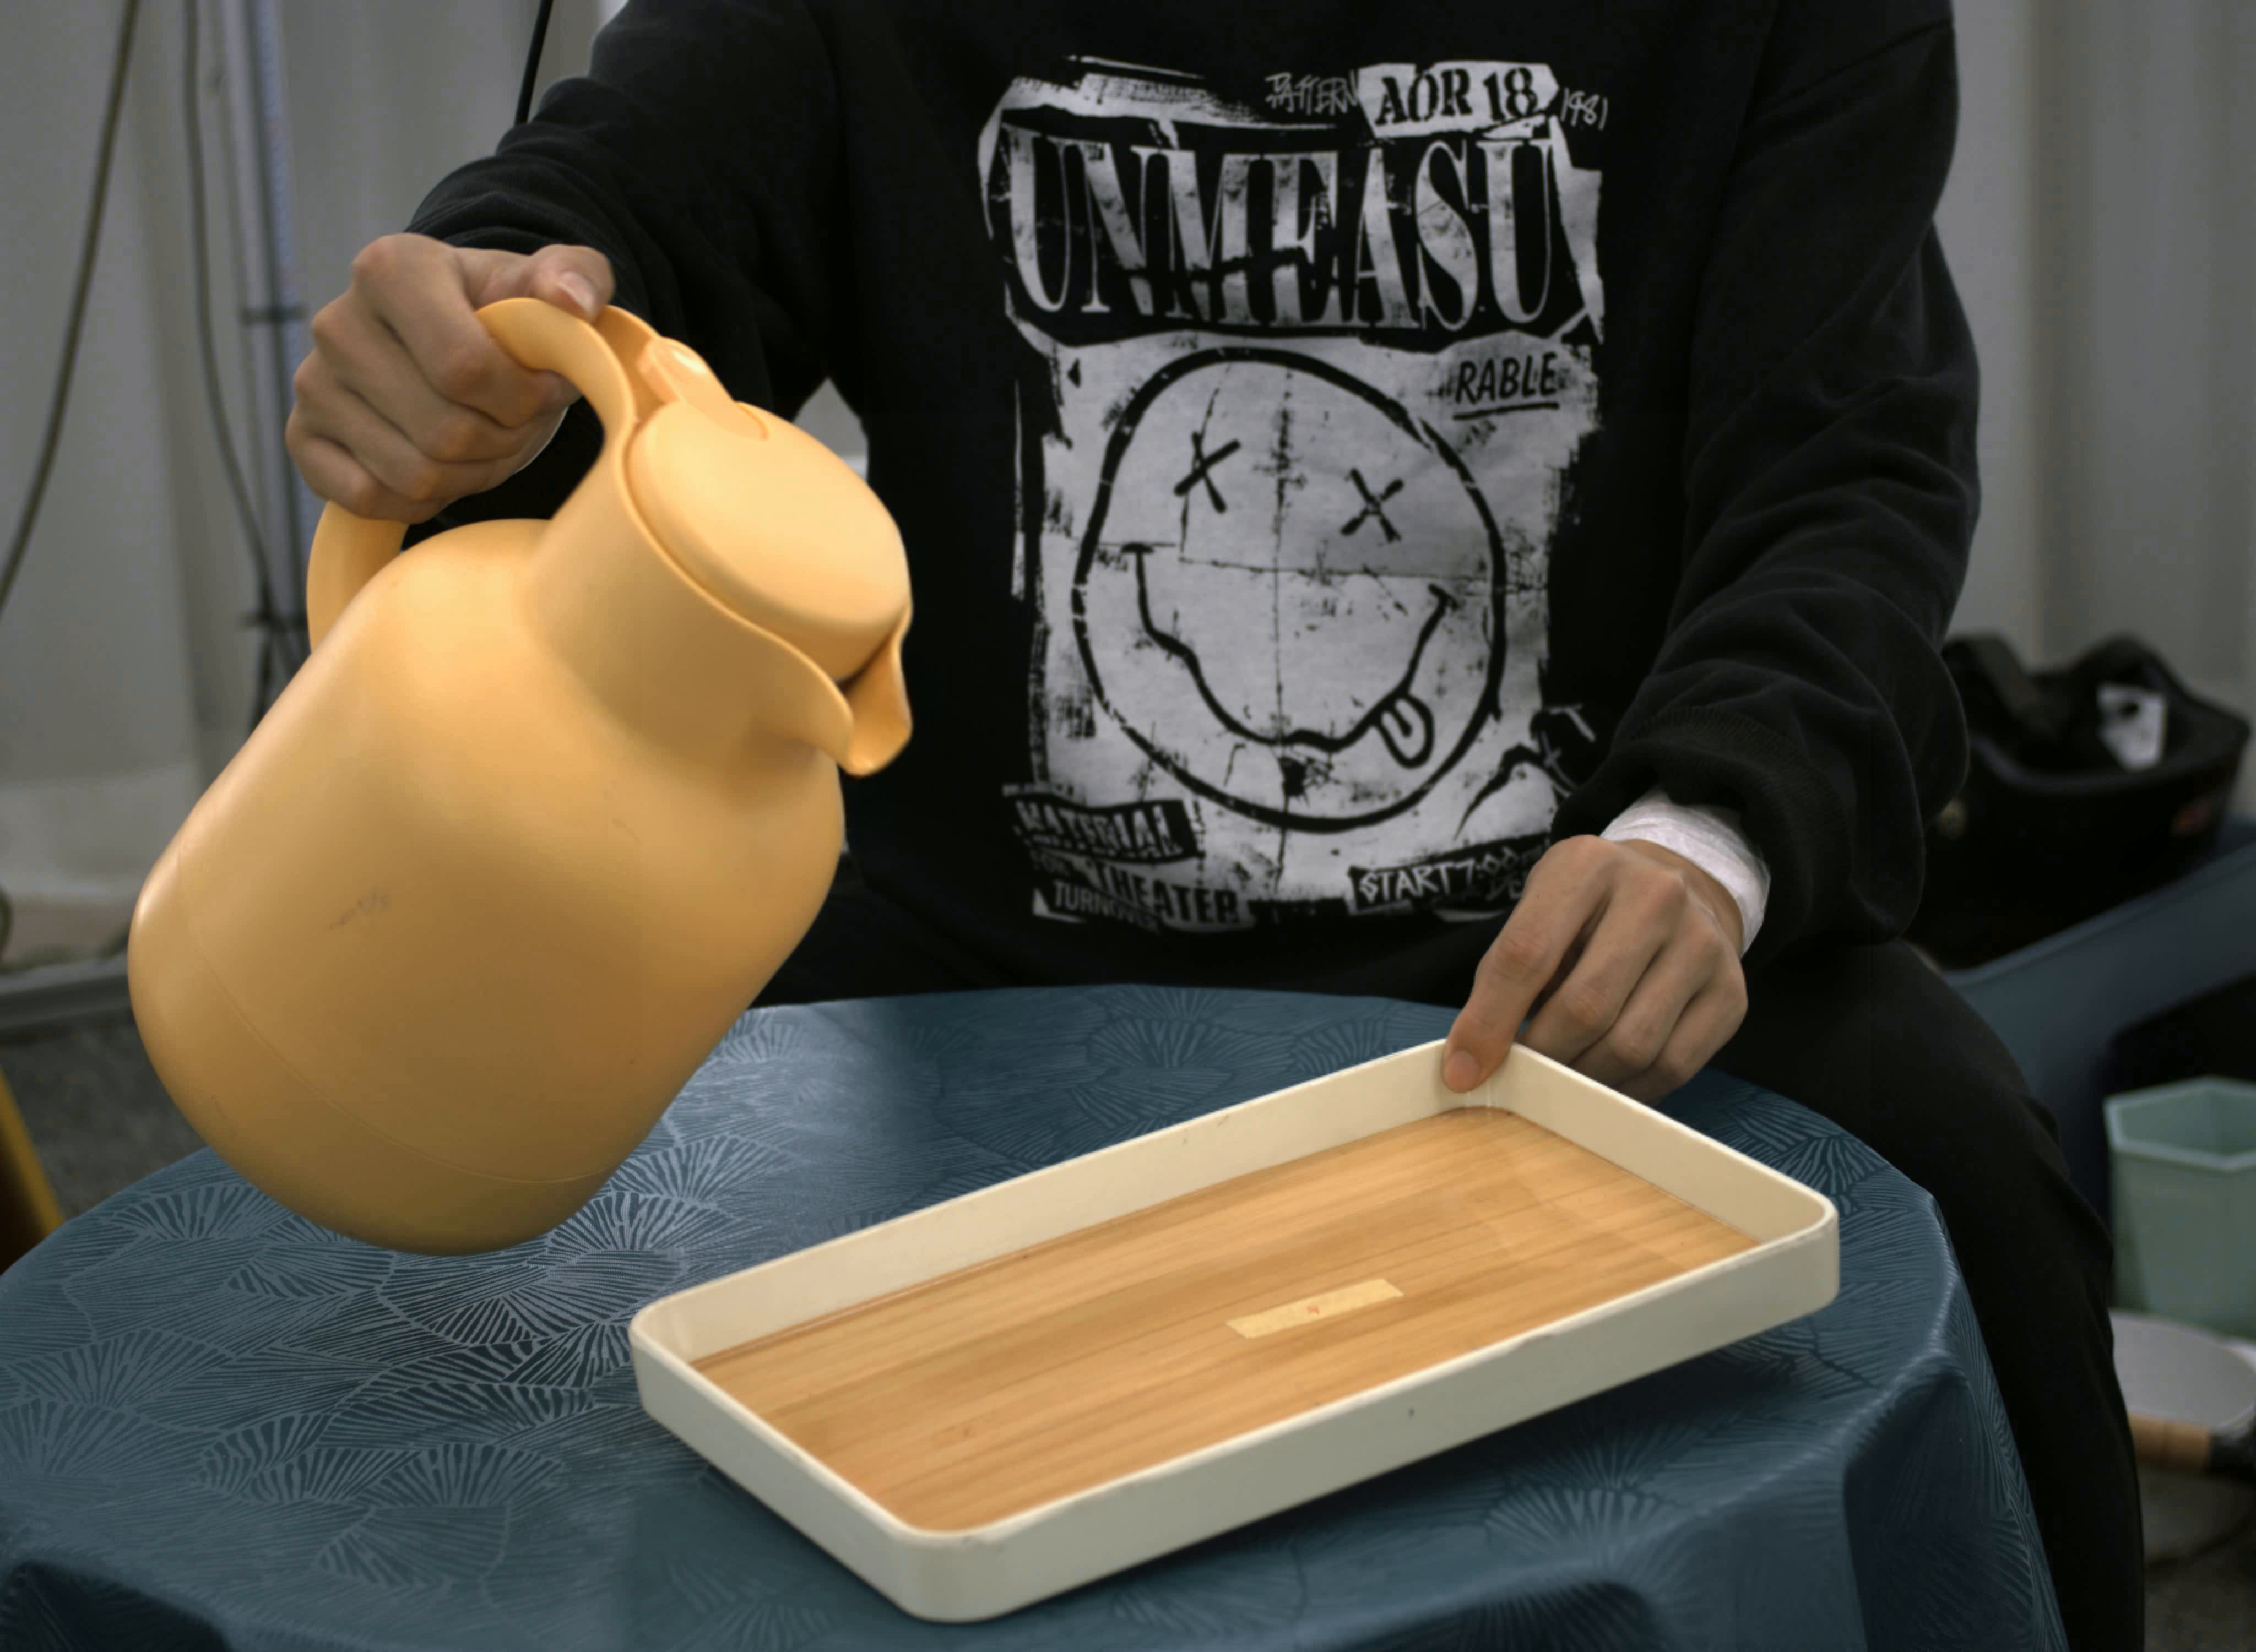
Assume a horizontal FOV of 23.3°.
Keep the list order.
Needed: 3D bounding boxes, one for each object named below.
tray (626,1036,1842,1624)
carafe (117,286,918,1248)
[{"bbox_3d":[0.030,0.134,1.522,0.299,0.027,0.193,-16,22,-27],"label":"tray"},{"bbox_3d":[-0.174,-0.024,1.573,0.162,0.259,0.205,5,45,-50],"label":"carafe"}]
